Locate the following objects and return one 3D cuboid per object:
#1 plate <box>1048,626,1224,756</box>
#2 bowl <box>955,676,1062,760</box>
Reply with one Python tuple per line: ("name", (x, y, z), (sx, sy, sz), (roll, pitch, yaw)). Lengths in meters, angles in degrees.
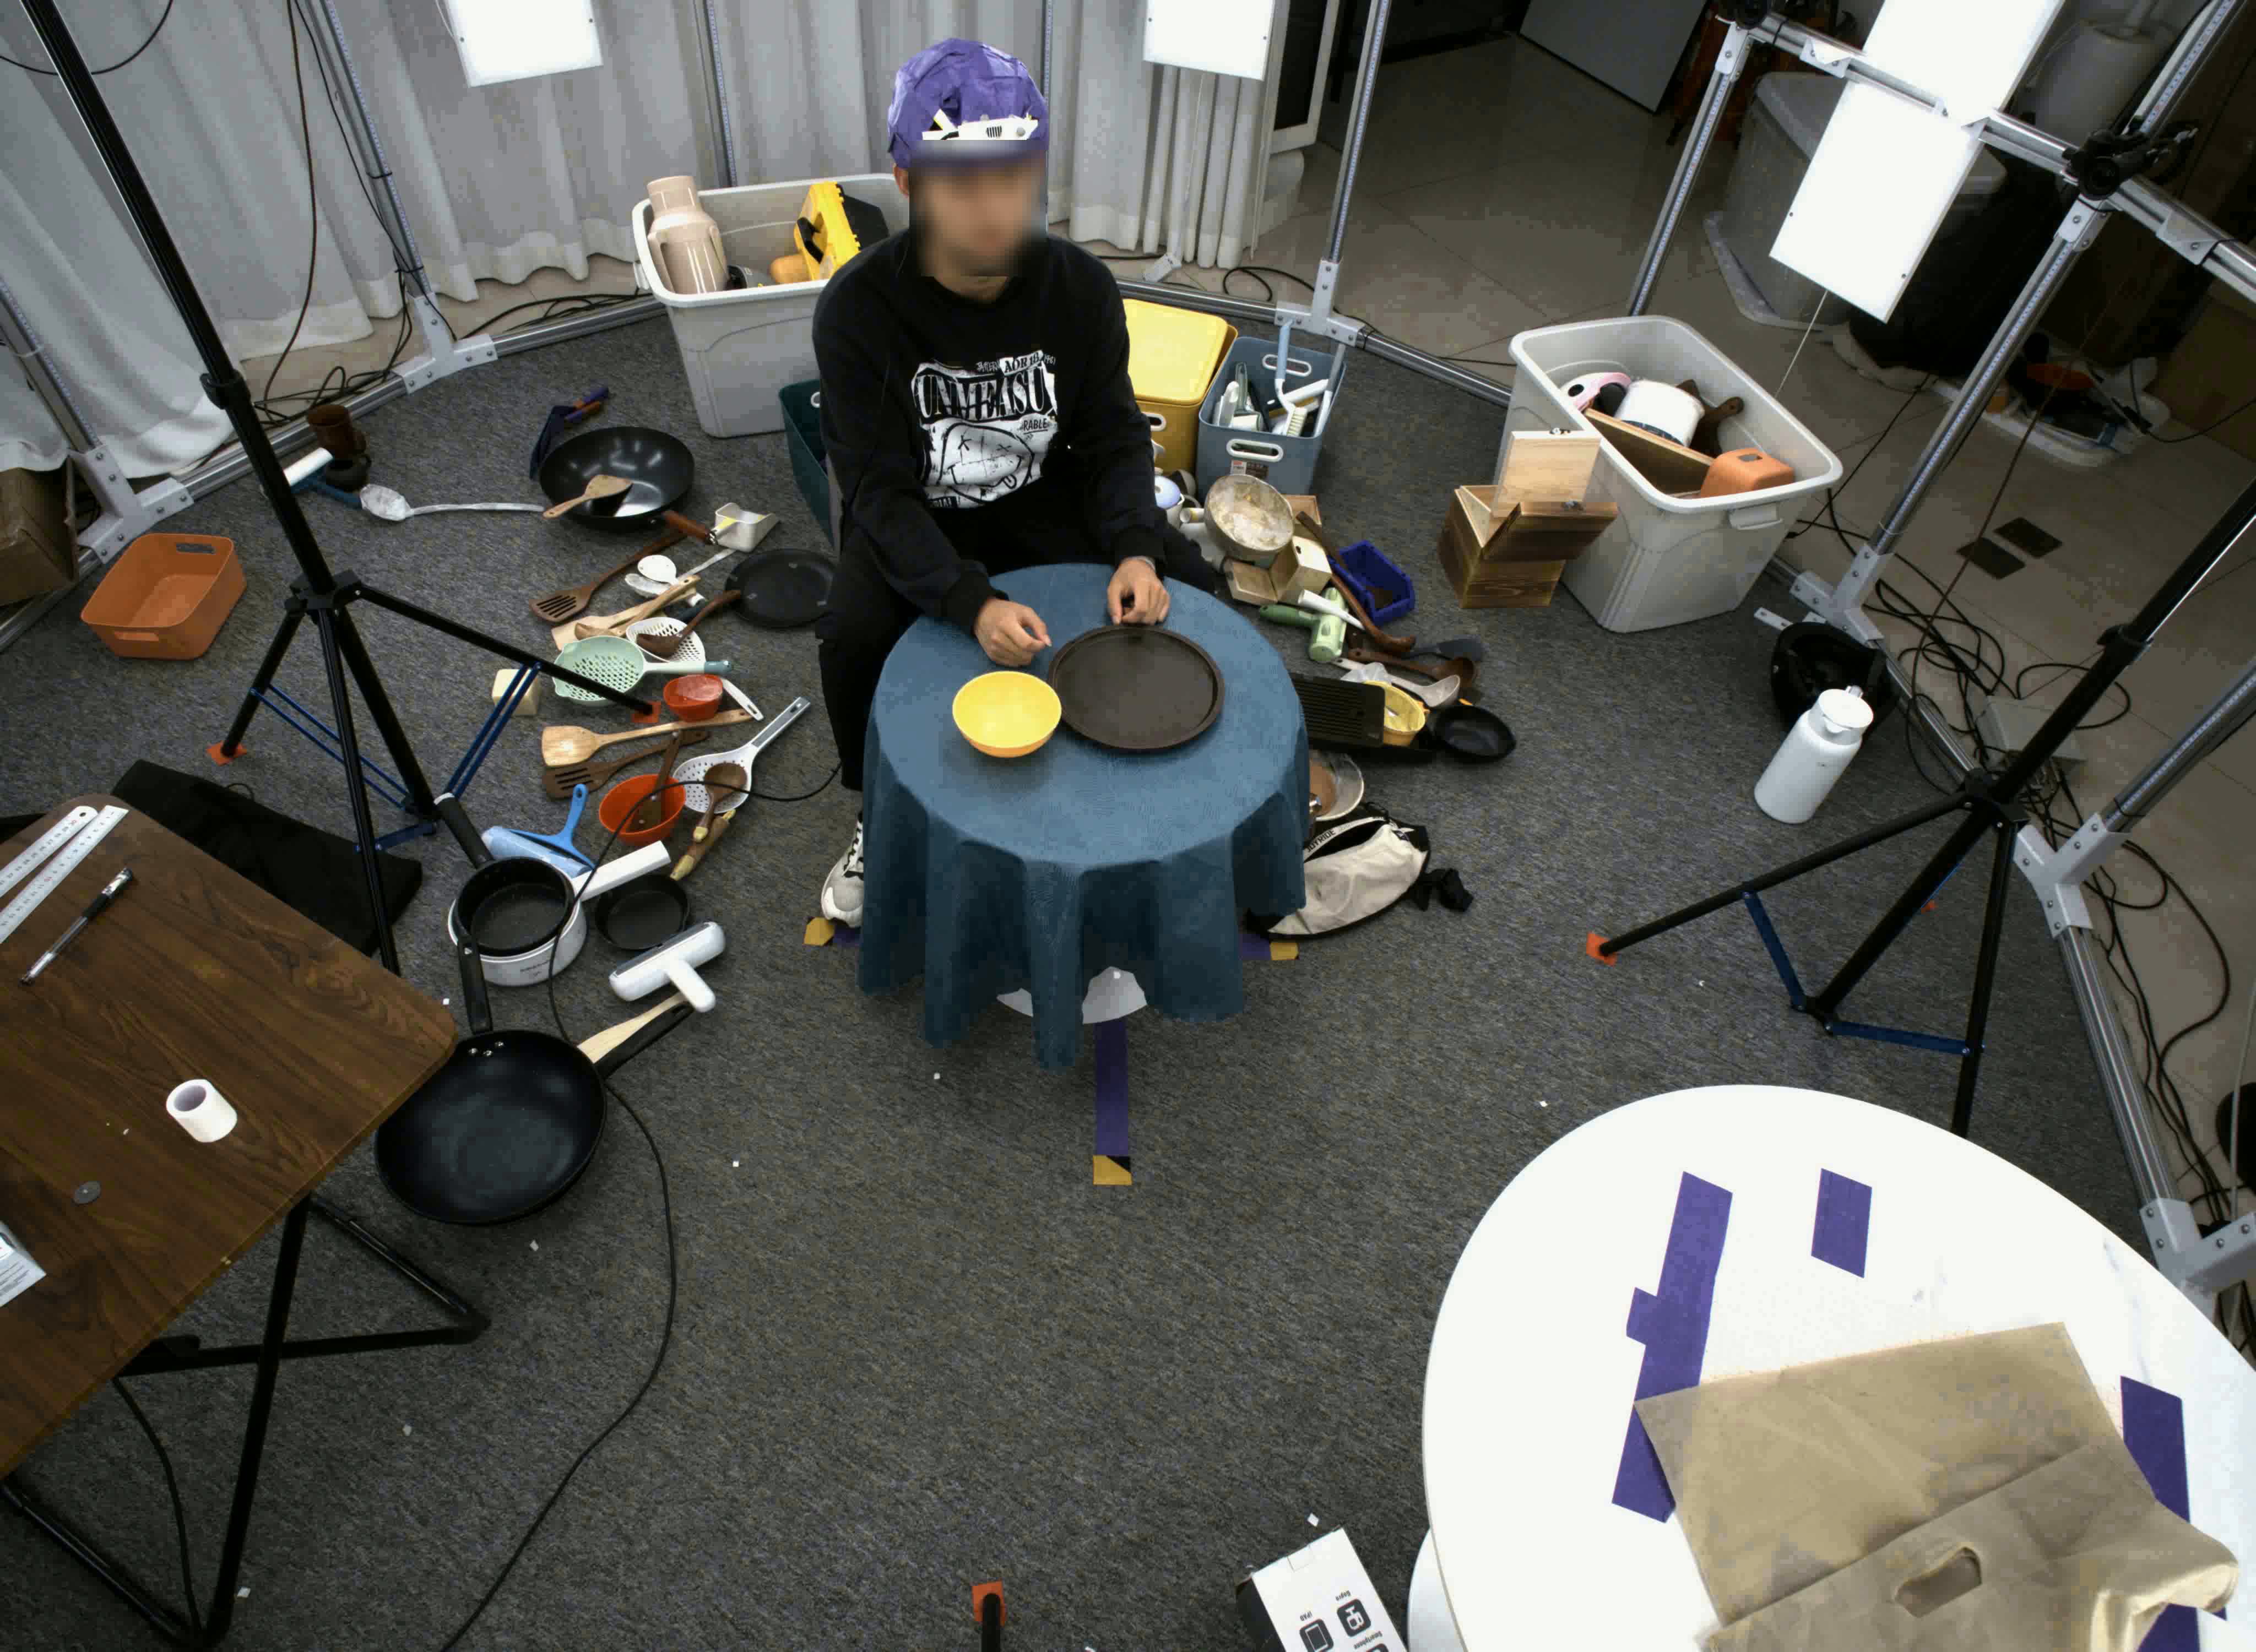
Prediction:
("plate", (0.012, -0.195, 1.841), (0.254, 0.028, 0.261), (1, 49, -1))
("bowl", (-0.164, -0.136, 1.756), (0.145, 0.058, 0.149), (2, 46, -3))
